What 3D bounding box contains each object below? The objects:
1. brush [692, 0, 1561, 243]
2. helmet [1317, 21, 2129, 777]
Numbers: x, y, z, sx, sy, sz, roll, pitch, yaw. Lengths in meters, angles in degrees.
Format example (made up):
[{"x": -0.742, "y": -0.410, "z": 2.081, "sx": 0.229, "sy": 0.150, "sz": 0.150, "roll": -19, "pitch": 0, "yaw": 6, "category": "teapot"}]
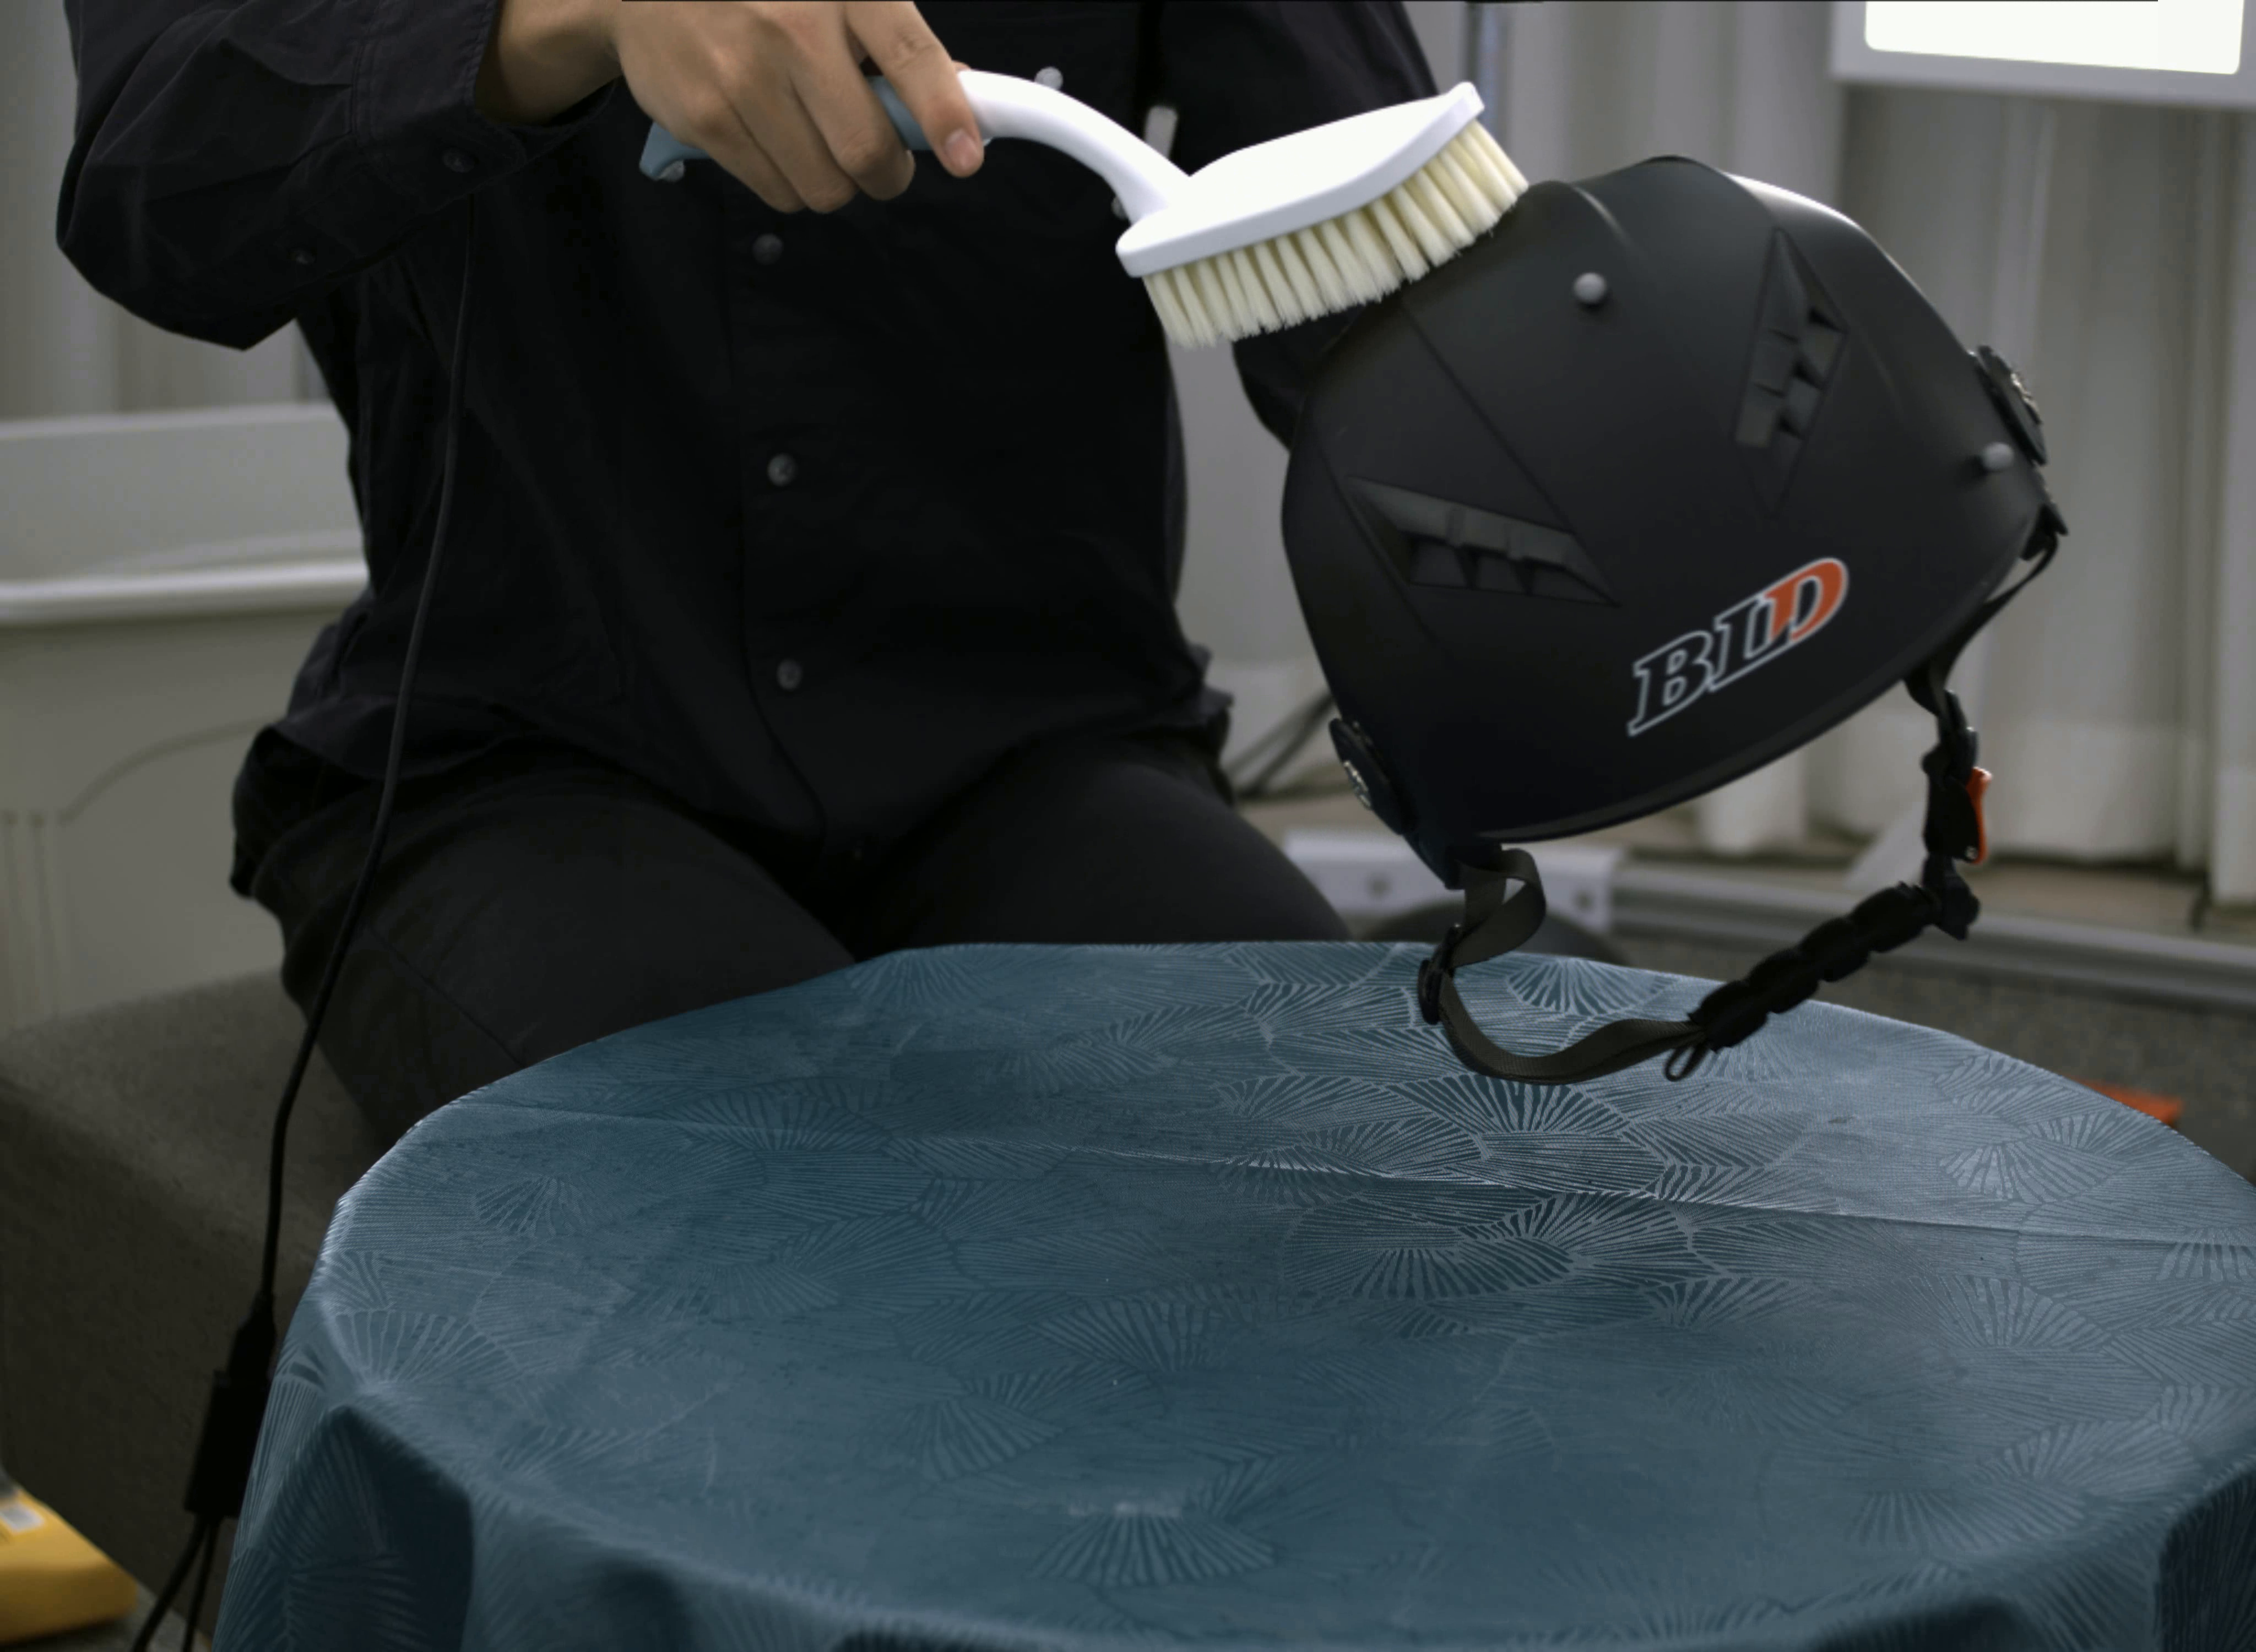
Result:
[{"x": -0.002, "y": -0.223, "z": 1.657, "sx": 0.321, "sy": 0.085, "sz": 0.084, "roll": 4, "pitch": -3, "yaw": 36, "category": "brush"}, {"x": 0.161, "y": -0.144, "z": 1.588, "sx": 0.246, "sy": 0.174, "sz": 0.274, "roll": -31, "pitch": 18, "yaw": 5, "category": "helmet"}]
